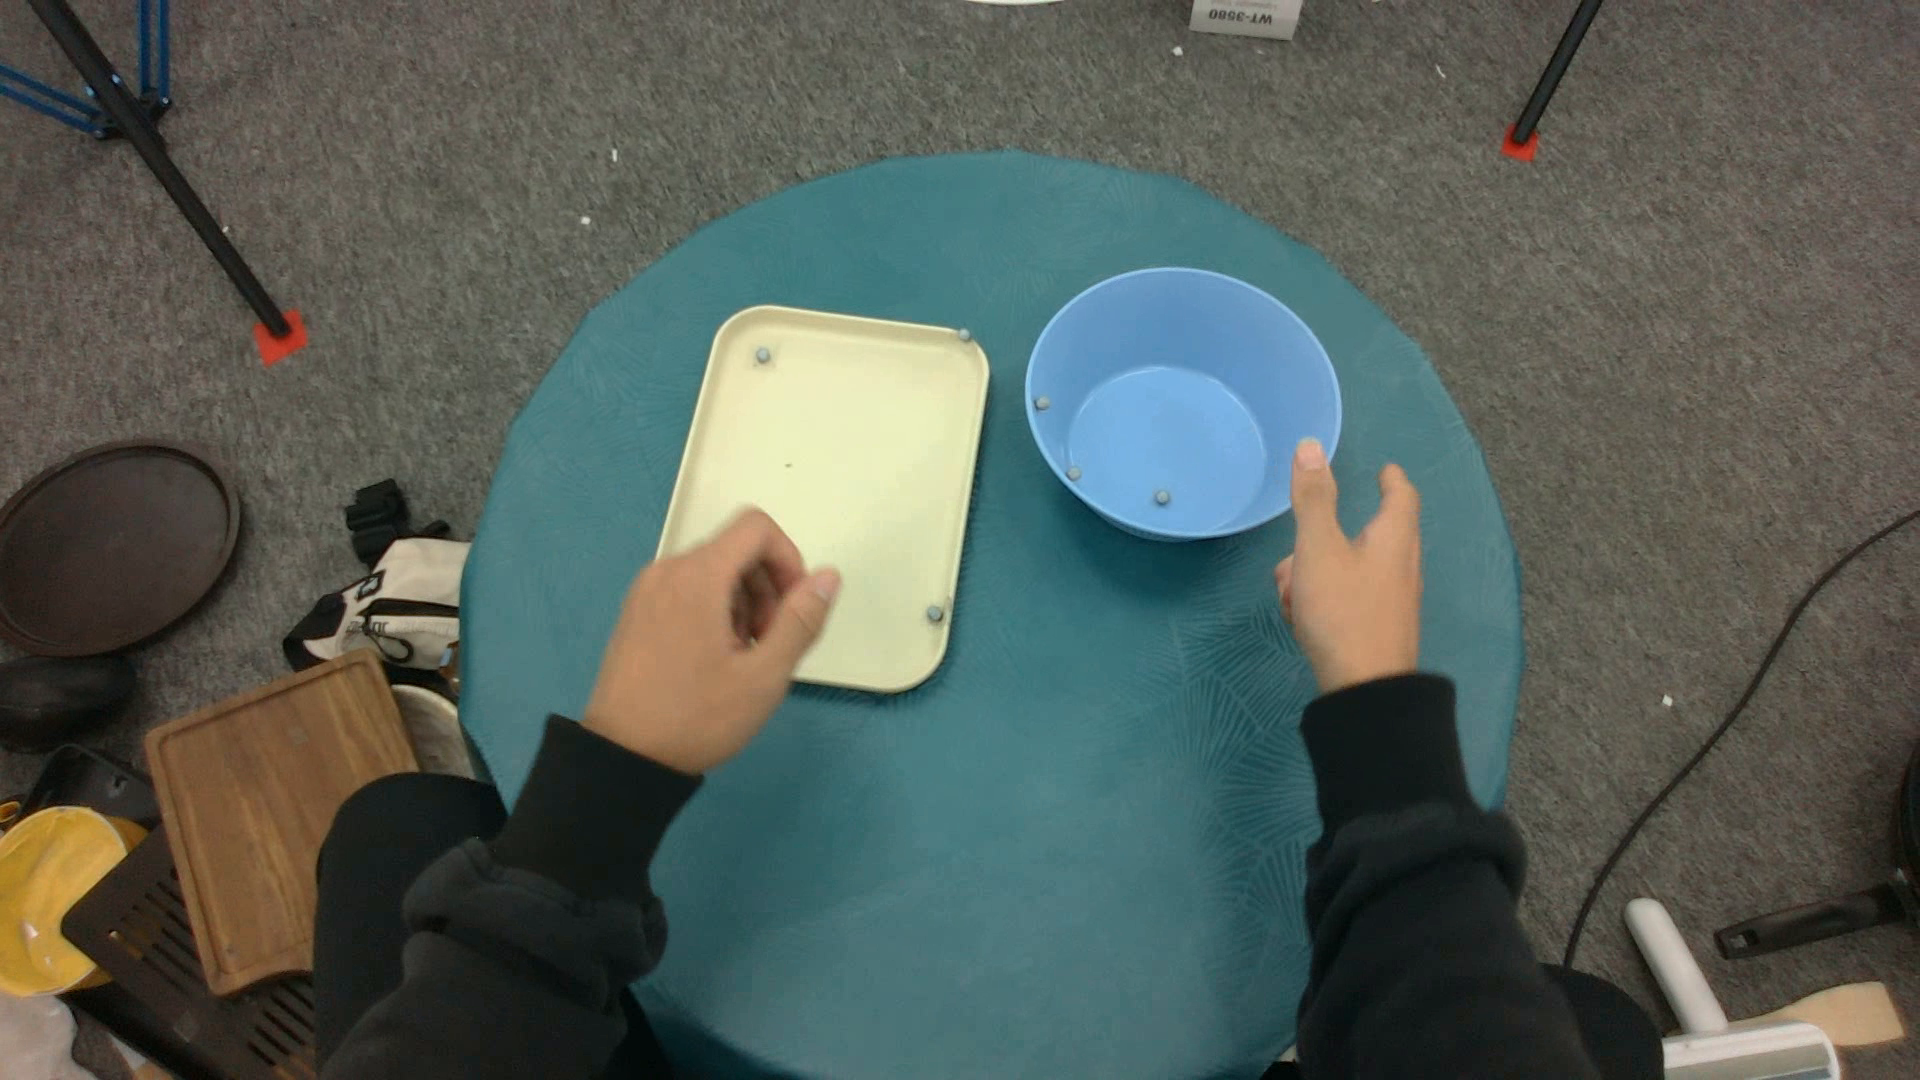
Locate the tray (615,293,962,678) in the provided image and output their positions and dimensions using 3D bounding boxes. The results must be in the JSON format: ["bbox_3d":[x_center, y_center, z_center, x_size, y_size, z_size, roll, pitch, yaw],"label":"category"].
[{"bbox_3d":[-0.094,-0.036,0.797,0.171,0.017,0.240,7,63,2],"label":"tray"}]

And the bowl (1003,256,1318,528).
[{"bbox_3d":[0.111,-0.074,0.794,0.176,0.070,0.176,1,63,-1],"label":"bowl"}]
